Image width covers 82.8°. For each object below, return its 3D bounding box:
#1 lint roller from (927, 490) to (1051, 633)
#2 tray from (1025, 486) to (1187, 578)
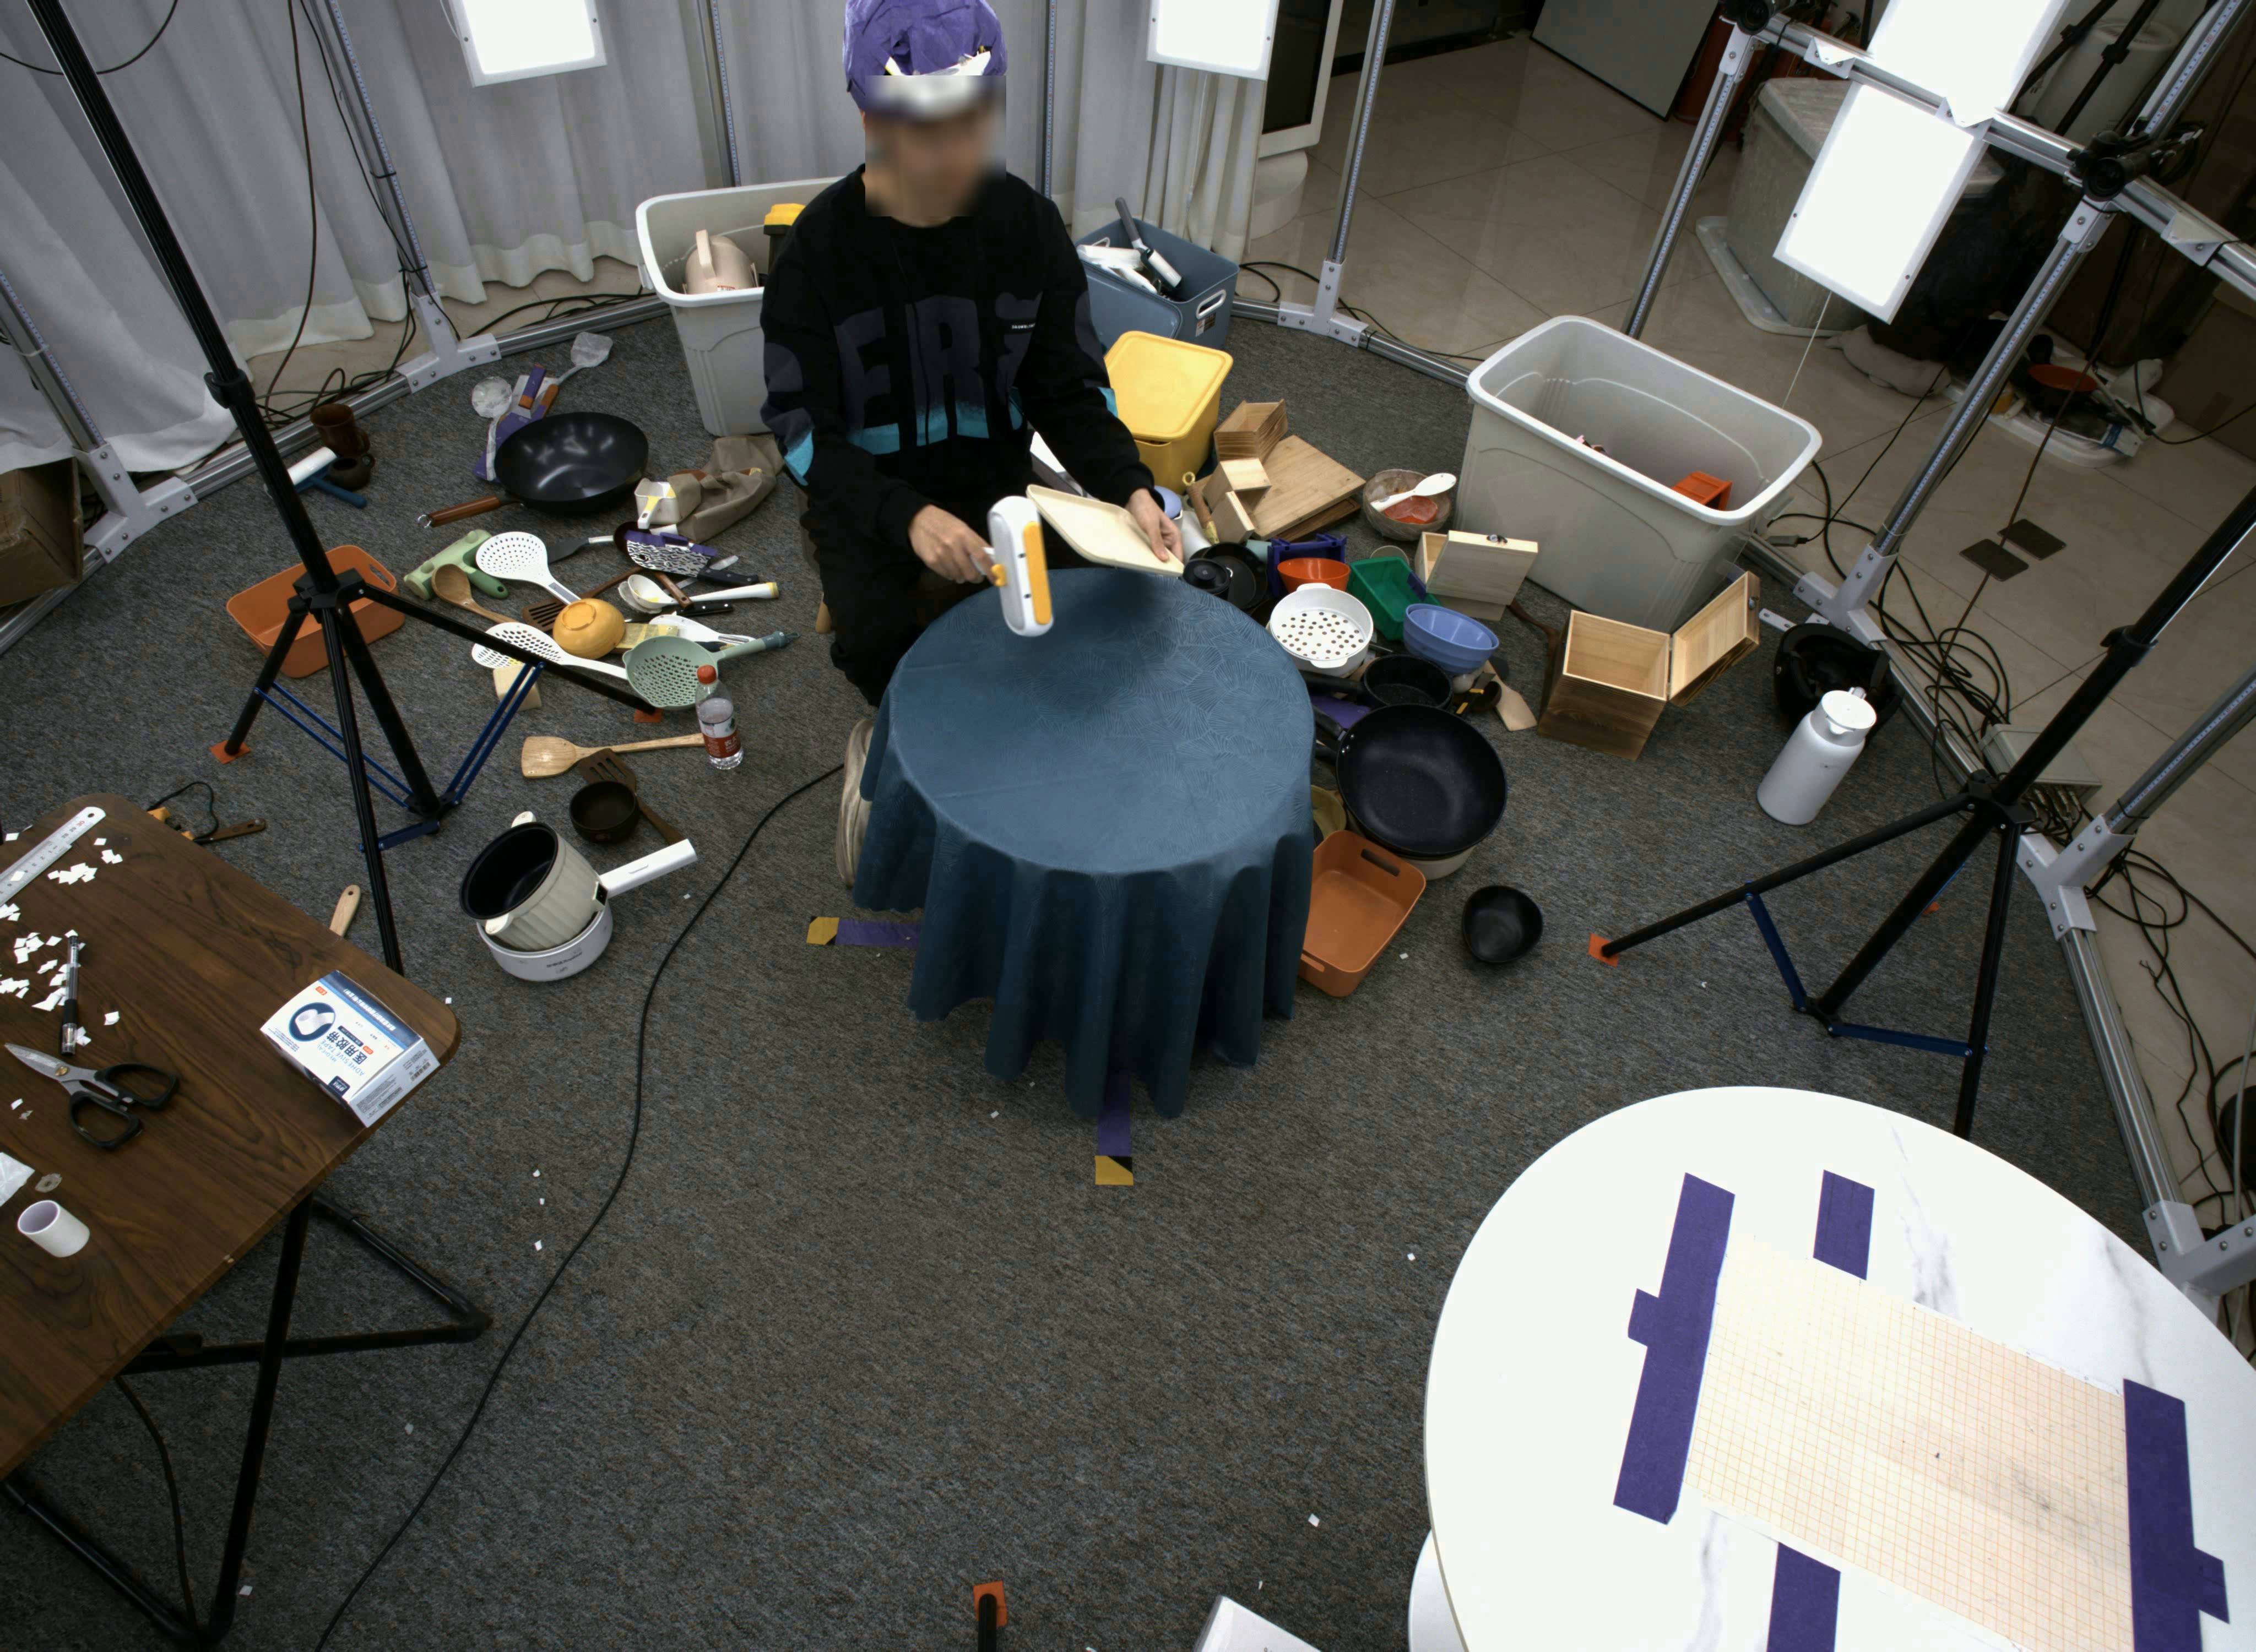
[{"bbox_3d":[-0.192,-0.359,1.740,0.075,0.188,0.195,-37,38,-30],"label":"lint roller"},{"bbox_3d":[-0.030,-0.415,1.836,0.238,0.017,0.174,-2,44,-51],"label":"tray"}]
